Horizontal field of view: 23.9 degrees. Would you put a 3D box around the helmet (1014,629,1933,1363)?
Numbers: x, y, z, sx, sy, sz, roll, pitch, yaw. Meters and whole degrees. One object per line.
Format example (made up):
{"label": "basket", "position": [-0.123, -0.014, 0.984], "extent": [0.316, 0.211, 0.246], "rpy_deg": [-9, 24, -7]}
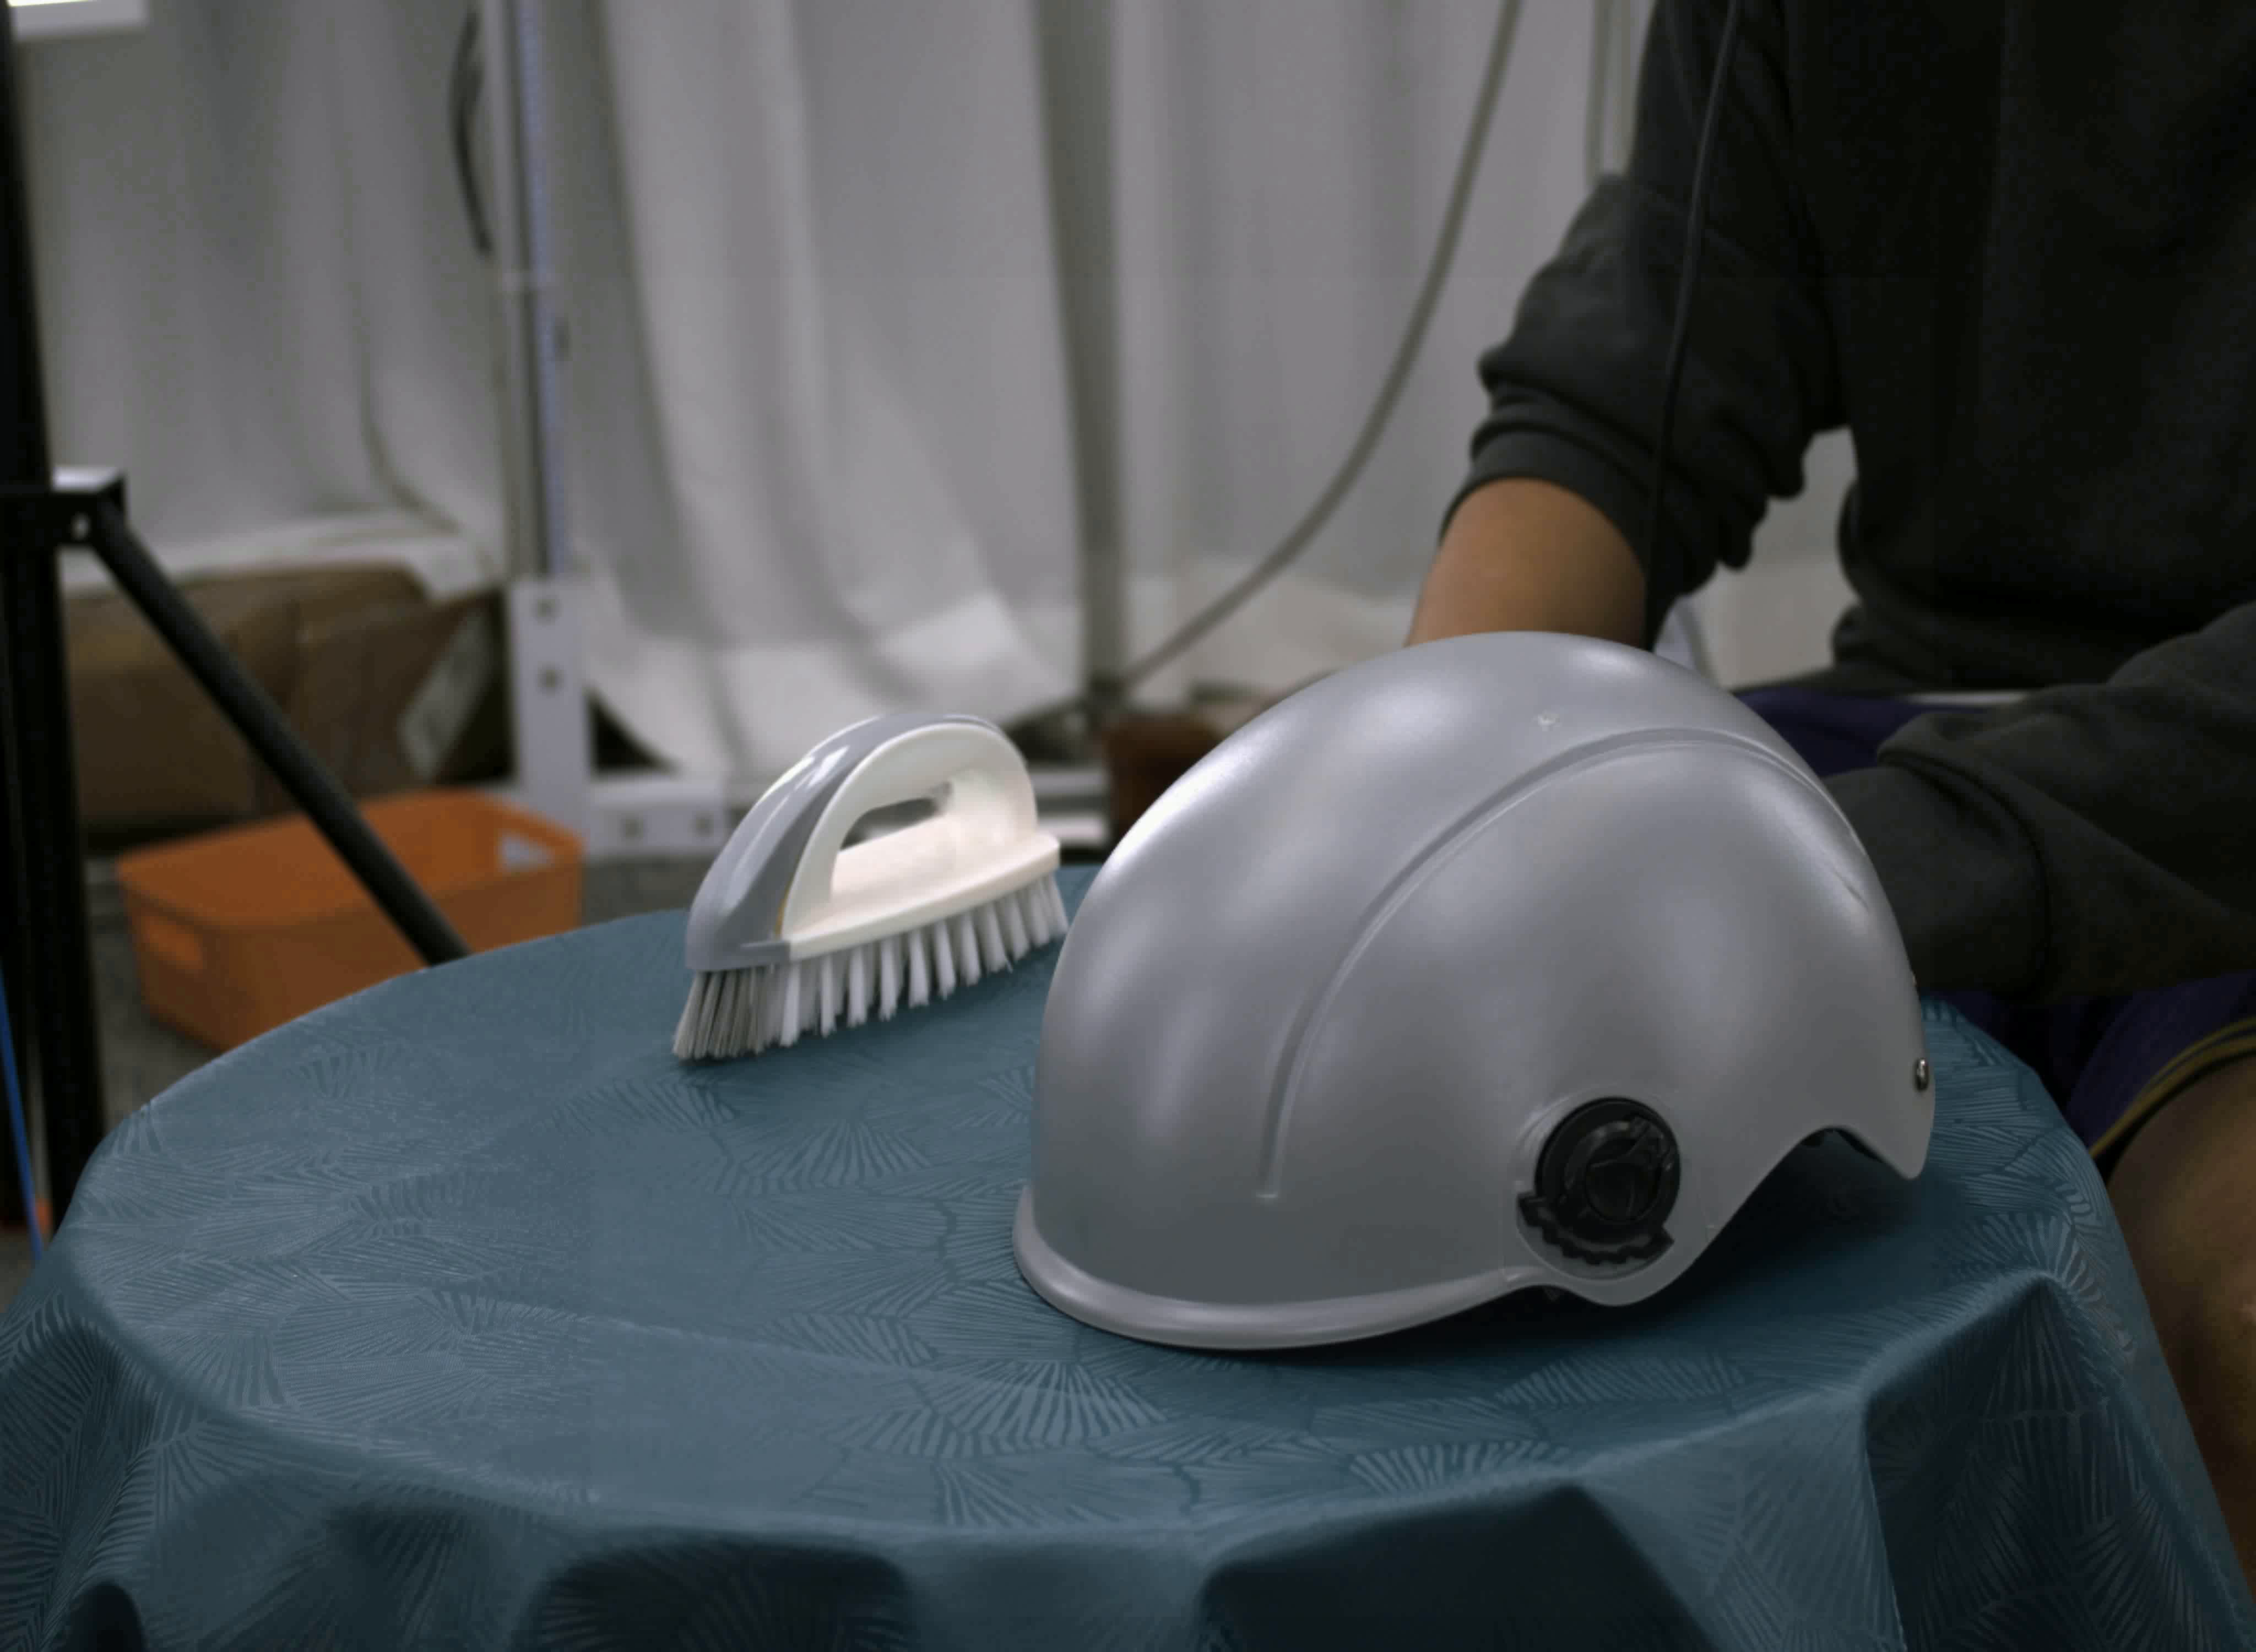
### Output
{"label": "helmet", "position": [0.093, 0.034, 1.507], "extent": [0.270, 0.168, 0.237], "rpy_deg": [-15, 18, -31]}

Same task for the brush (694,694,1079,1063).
{"label": "brush", "position": [-0.087, 0.013, 1.745], "extent": [0.063, 0.094, 0.172], "rpy_deg": [8, 21, 37]}
